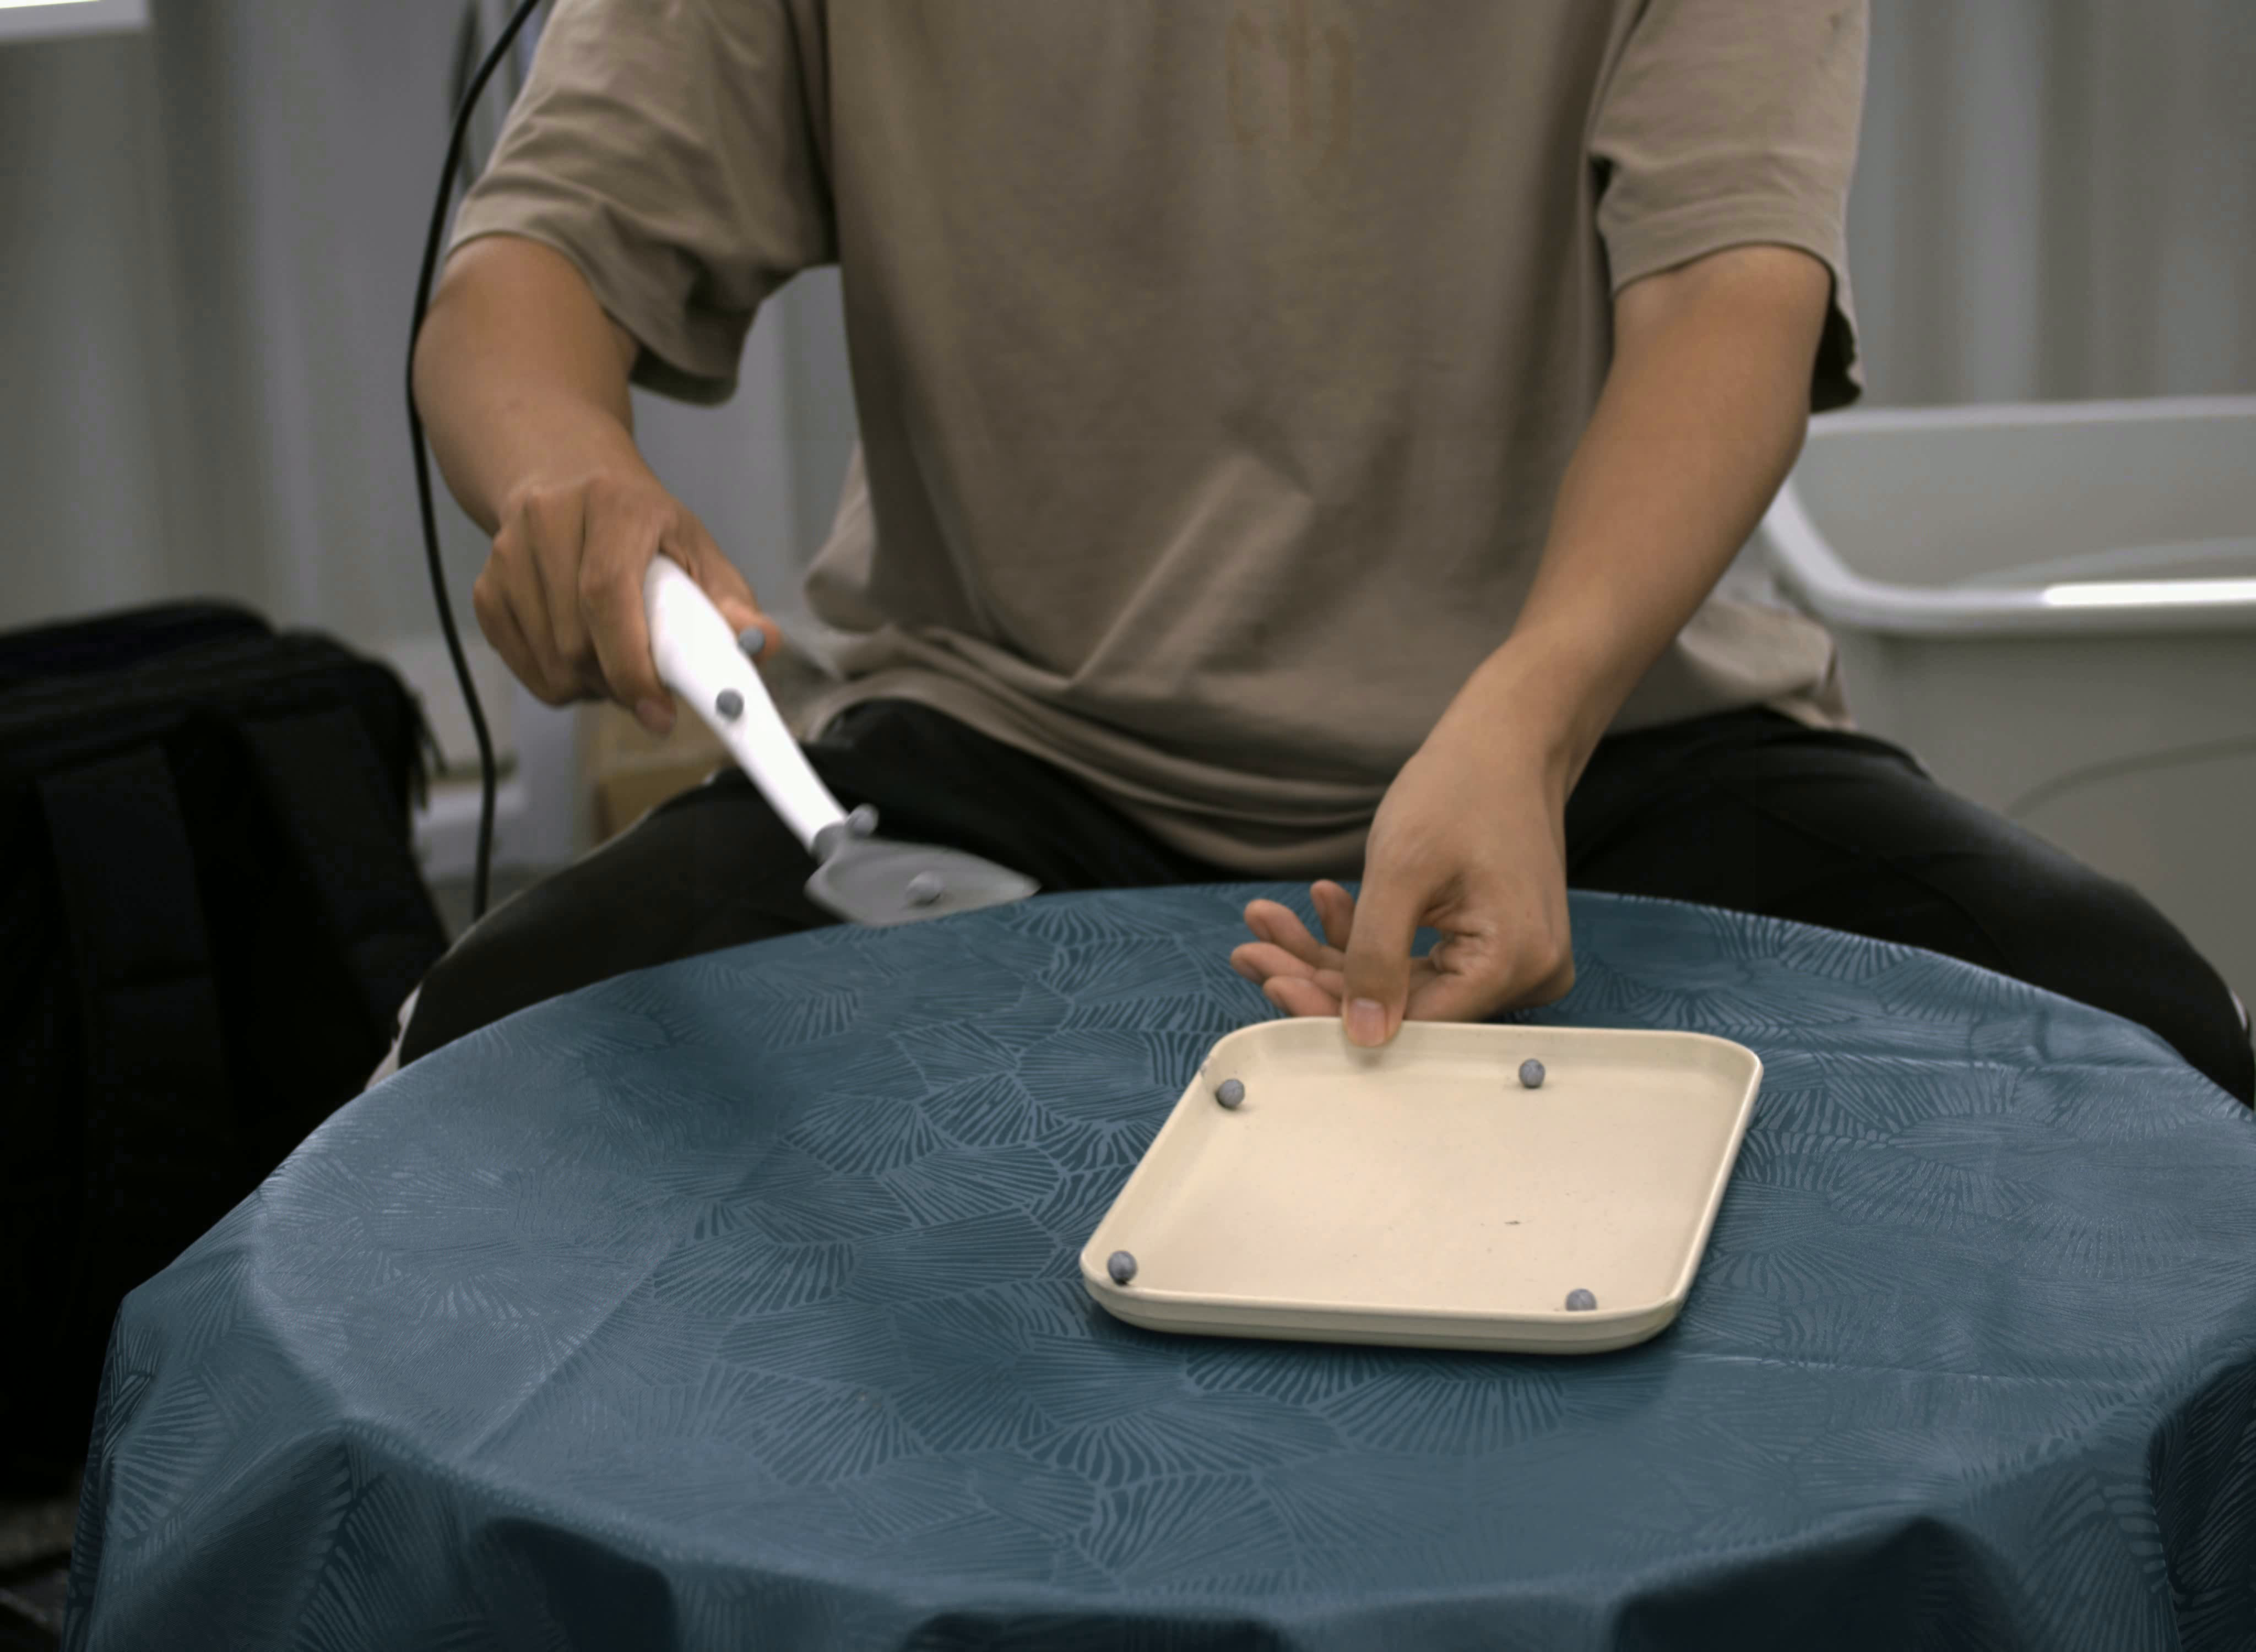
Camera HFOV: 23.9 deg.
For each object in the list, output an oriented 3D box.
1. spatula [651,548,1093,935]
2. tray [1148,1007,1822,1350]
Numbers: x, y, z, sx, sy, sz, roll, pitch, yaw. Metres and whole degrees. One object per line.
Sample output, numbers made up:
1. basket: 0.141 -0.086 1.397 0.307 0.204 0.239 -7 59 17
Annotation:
1. spatula: -0.084 -0.020 1.570 0.057 0.032 0.293 -7 24 -20
2. tray: 0.107 0.100 1.525 0.172 0.017 0.238 3 17 13
